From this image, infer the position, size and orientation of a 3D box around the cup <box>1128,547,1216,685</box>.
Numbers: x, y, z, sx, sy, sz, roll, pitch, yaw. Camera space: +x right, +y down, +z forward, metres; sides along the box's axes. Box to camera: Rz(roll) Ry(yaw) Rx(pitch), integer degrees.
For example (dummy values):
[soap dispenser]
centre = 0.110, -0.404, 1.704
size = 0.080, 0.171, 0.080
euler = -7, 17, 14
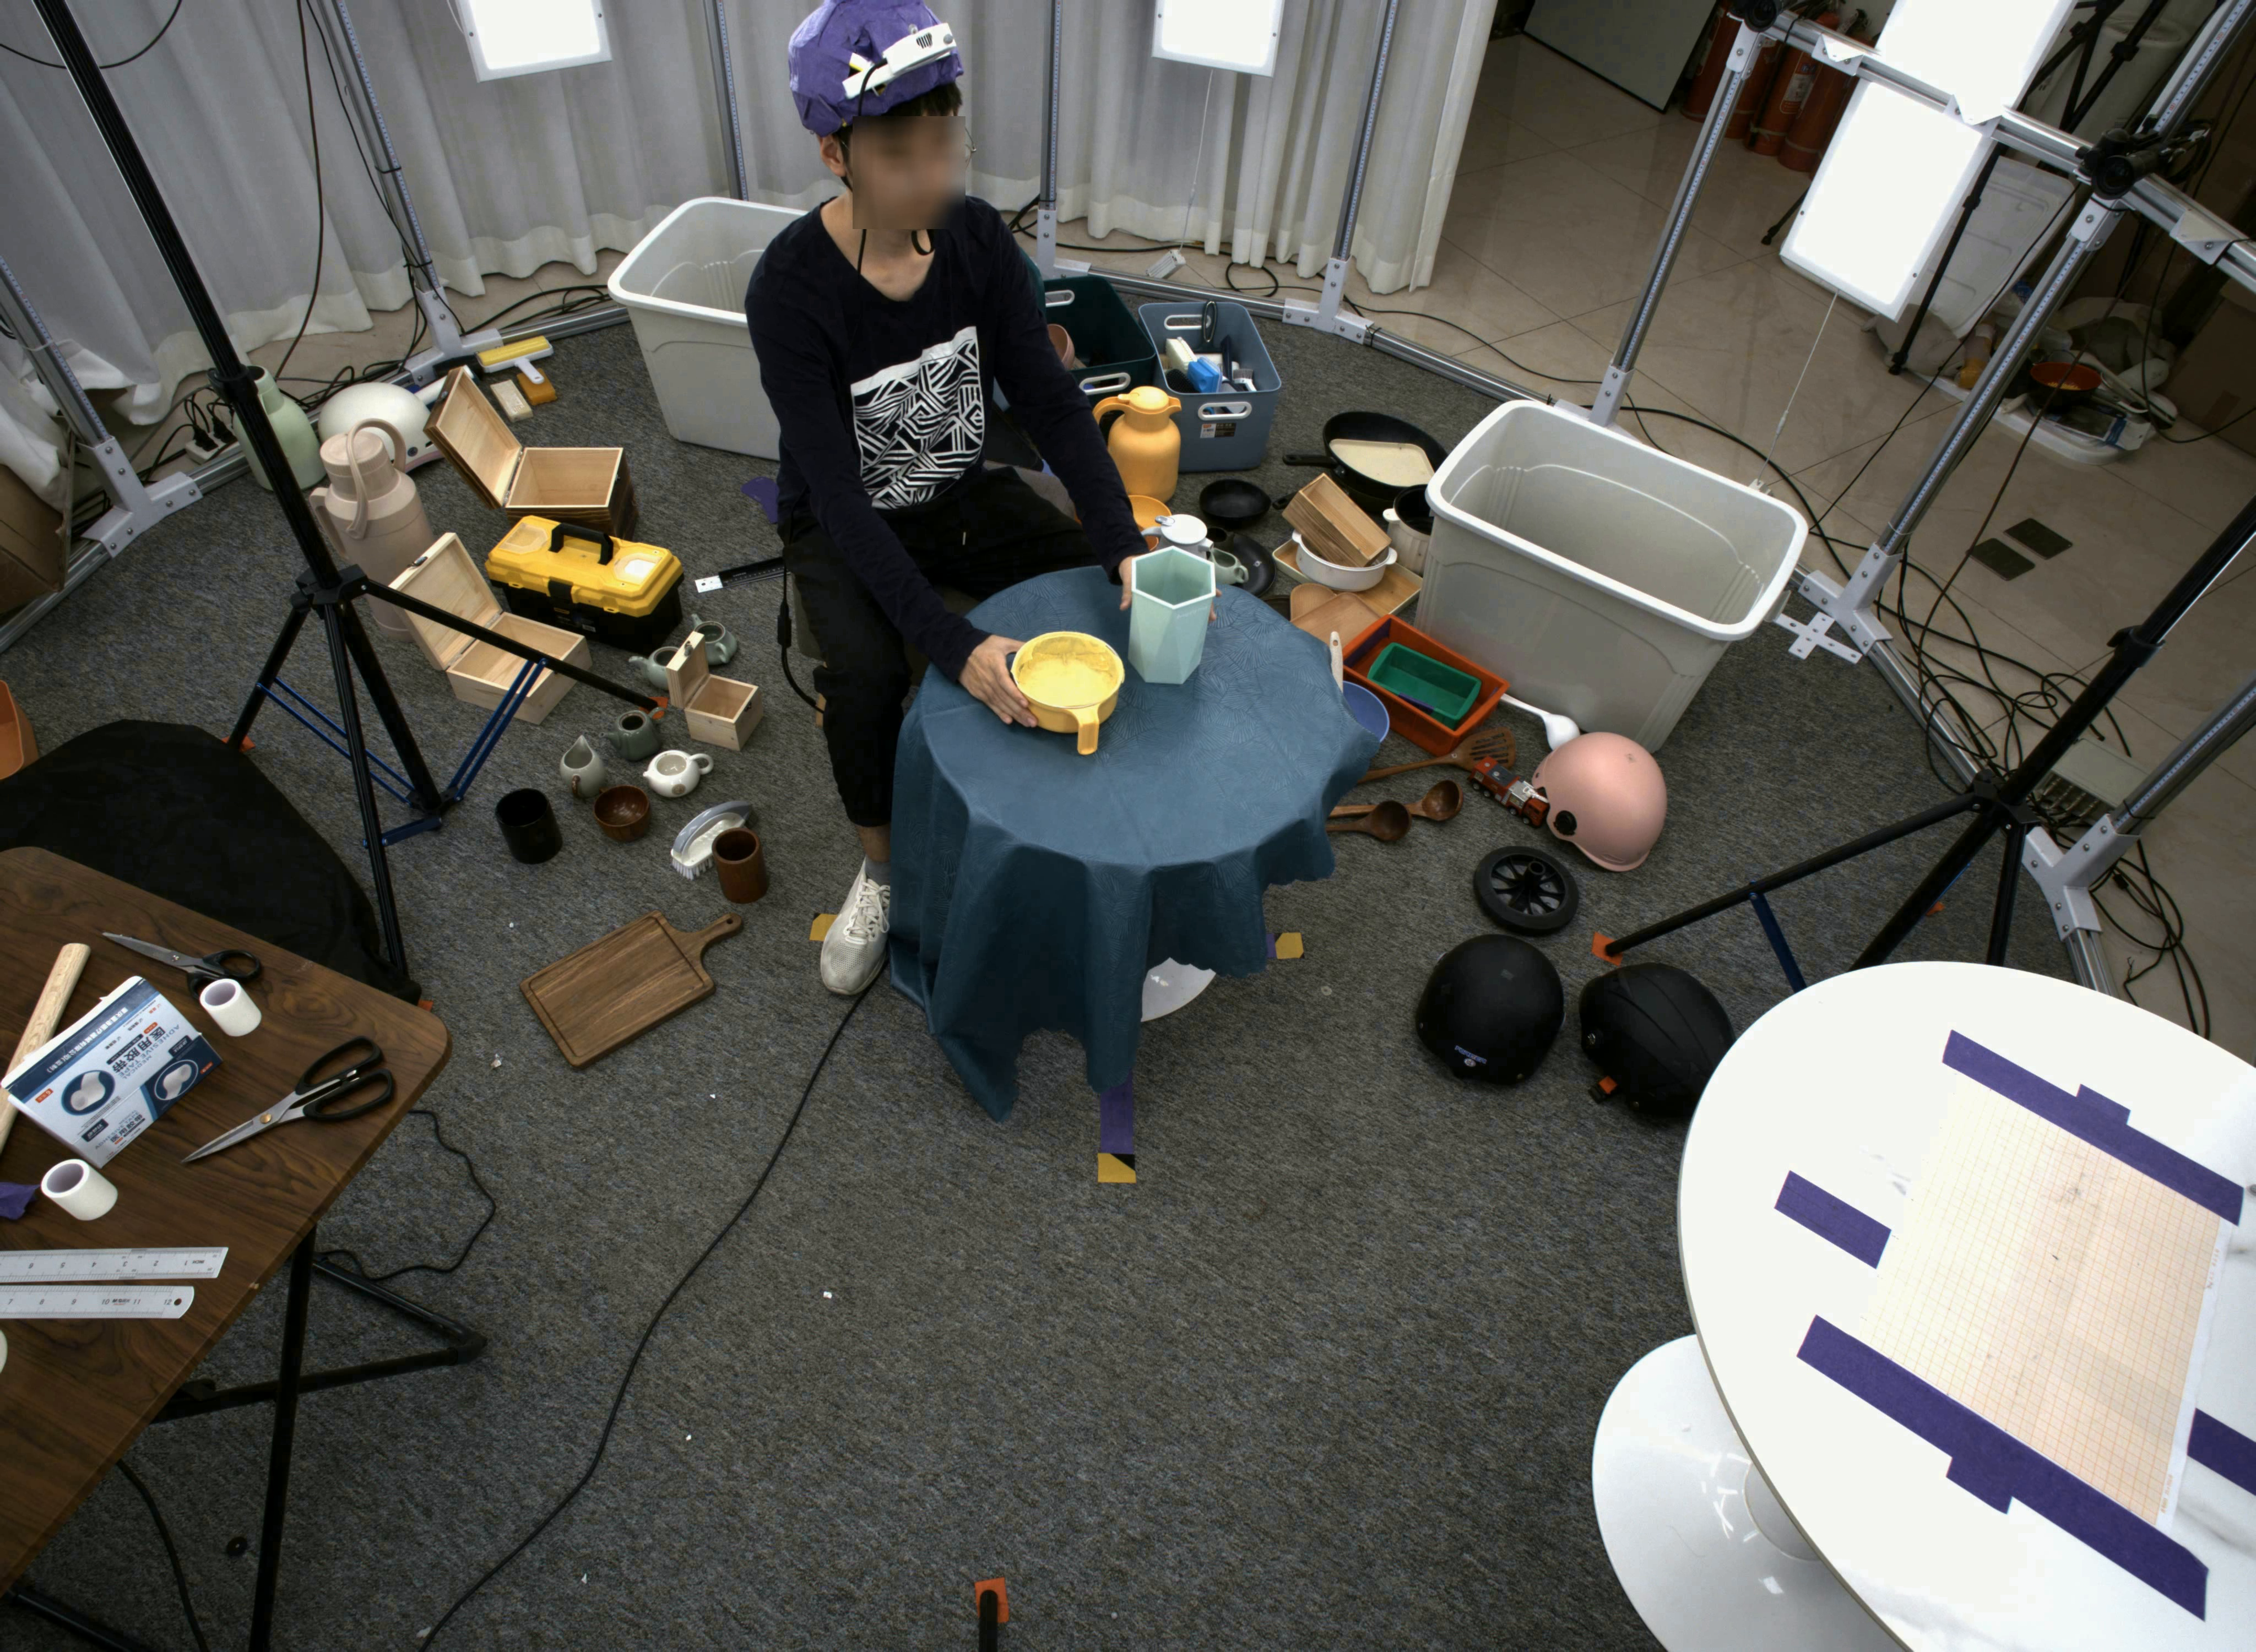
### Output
[cup]
centre = 0.058, -0.291, 1.820
size = 0.131, 0.159, 0.117
euler = -23, 52, -24

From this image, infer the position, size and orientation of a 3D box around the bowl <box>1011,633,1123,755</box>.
[bowl]
centre = -0.080, -0.184, 1.780
size = 0.153, 0.072, 0.183
euler = -15, 49, -16
